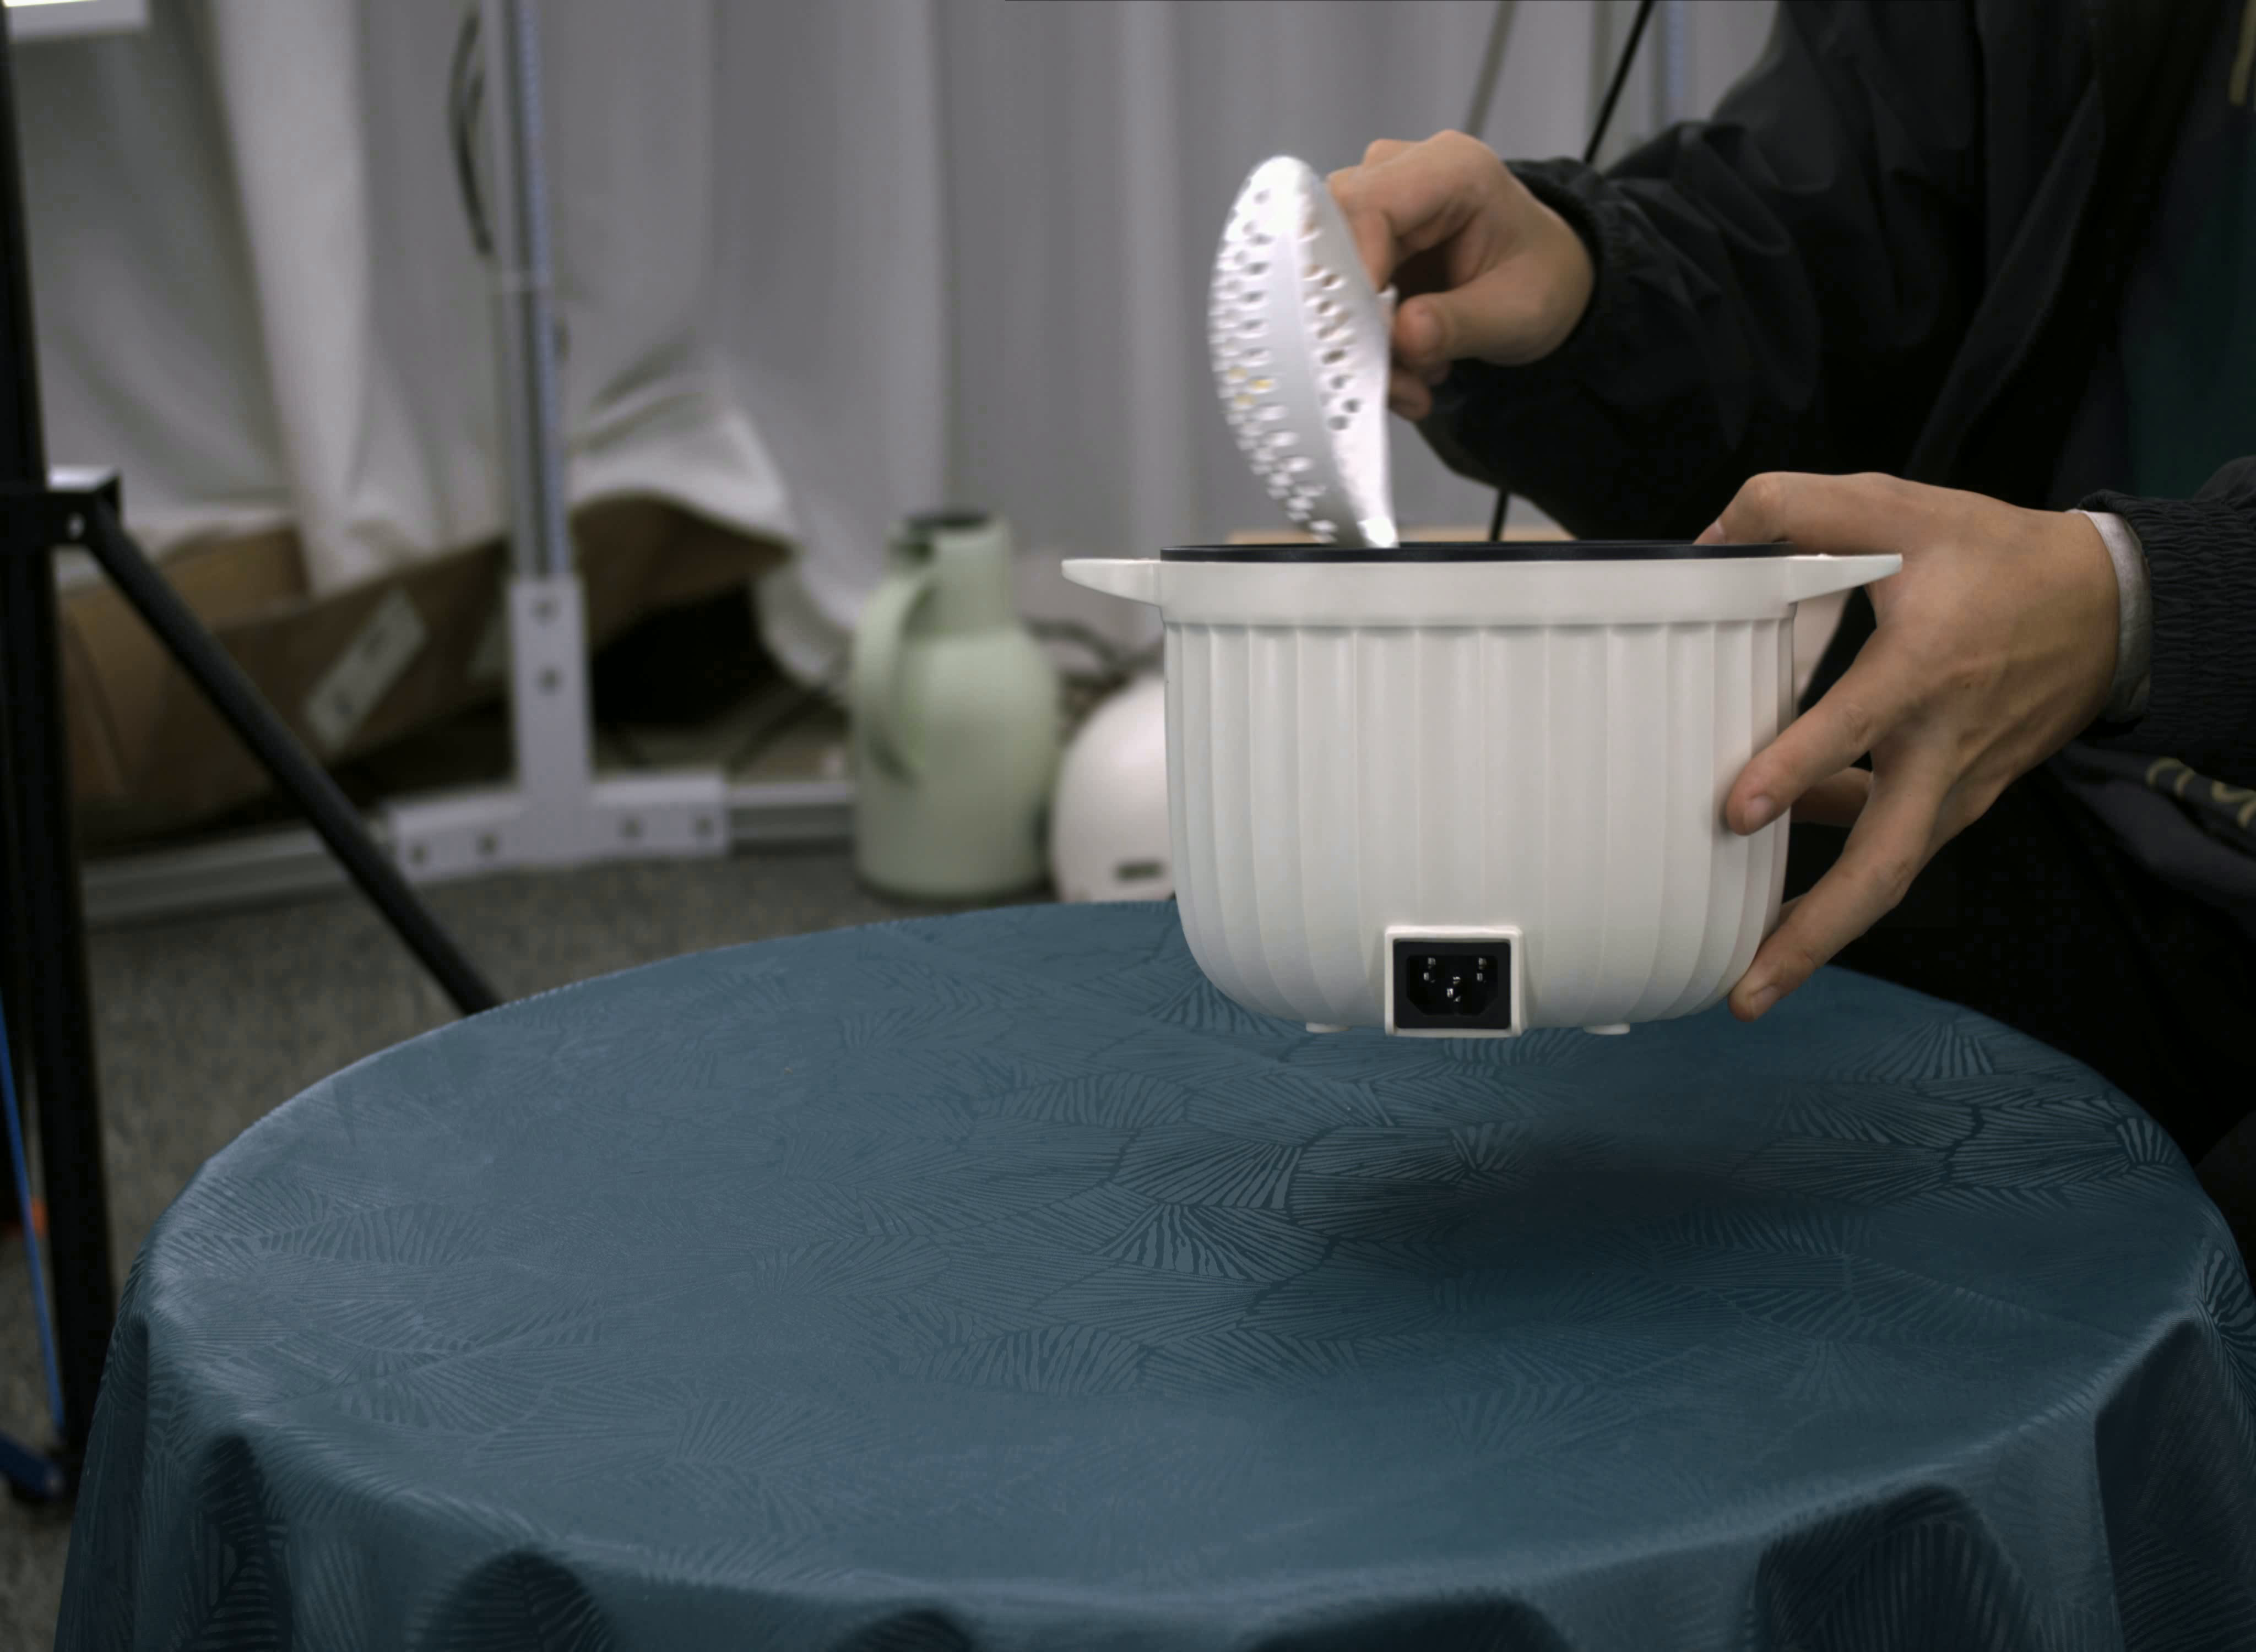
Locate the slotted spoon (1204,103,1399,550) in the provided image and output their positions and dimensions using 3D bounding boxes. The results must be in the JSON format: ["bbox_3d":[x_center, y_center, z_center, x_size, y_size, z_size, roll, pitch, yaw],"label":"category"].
[{"bbox_3d":[0.061,-0.151,1.629,0.050,0.137,0.345,-11,7,11],"label":"slotted spoon"}]

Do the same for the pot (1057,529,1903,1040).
[{"bbox_3d":[0.099,-0.015,1.517,0.241,0.143,0.189,1,6,9],"label":"pot"}]
